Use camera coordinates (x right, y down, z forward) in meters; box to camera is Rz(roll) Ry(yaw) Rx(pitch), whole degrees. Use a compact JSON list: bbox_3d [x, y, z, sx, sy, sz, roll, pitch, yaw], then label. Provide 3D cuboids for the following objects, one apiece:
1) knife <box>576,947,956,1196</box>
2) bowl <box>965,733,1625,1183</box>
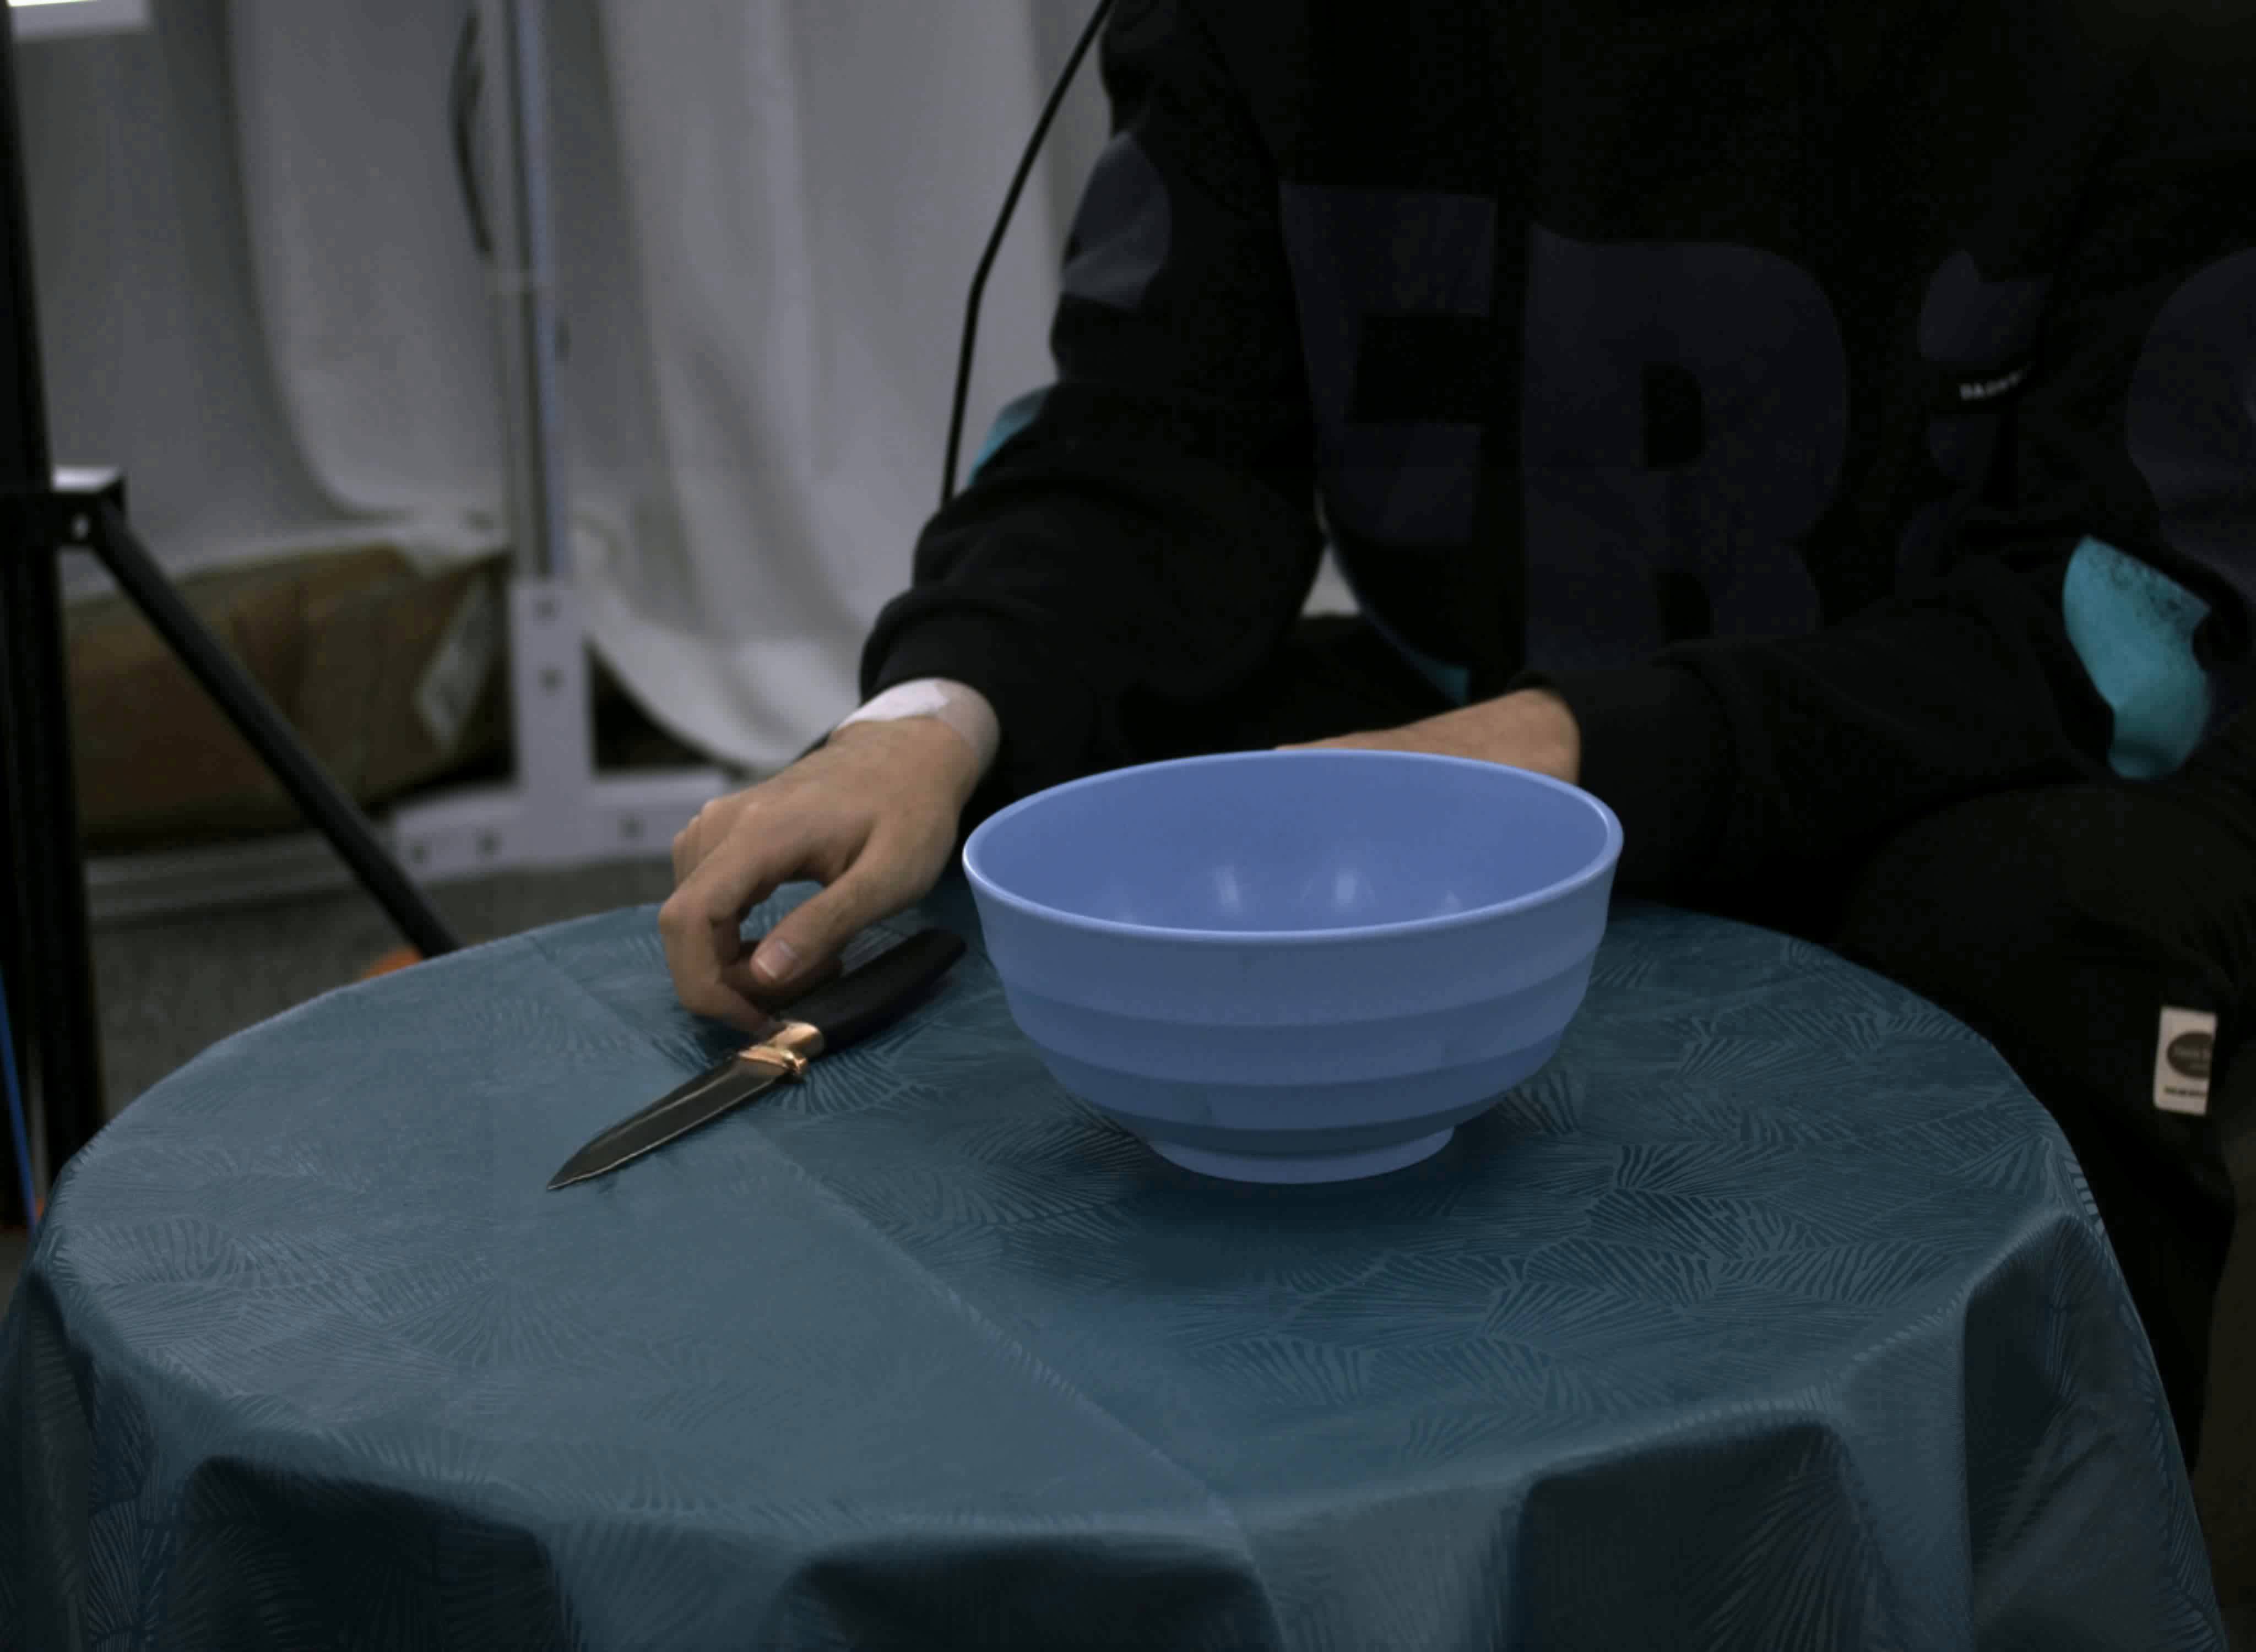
[{"bbox_3d":[-0.114,0.076,1.670,0.026,0.017,0.222,12,22,26],"label":"knife"},{"bbox_3d":[0.051,0.046,1.585,0.195,0.095,0.197,-4,18,0],"label":"bowl"}]
